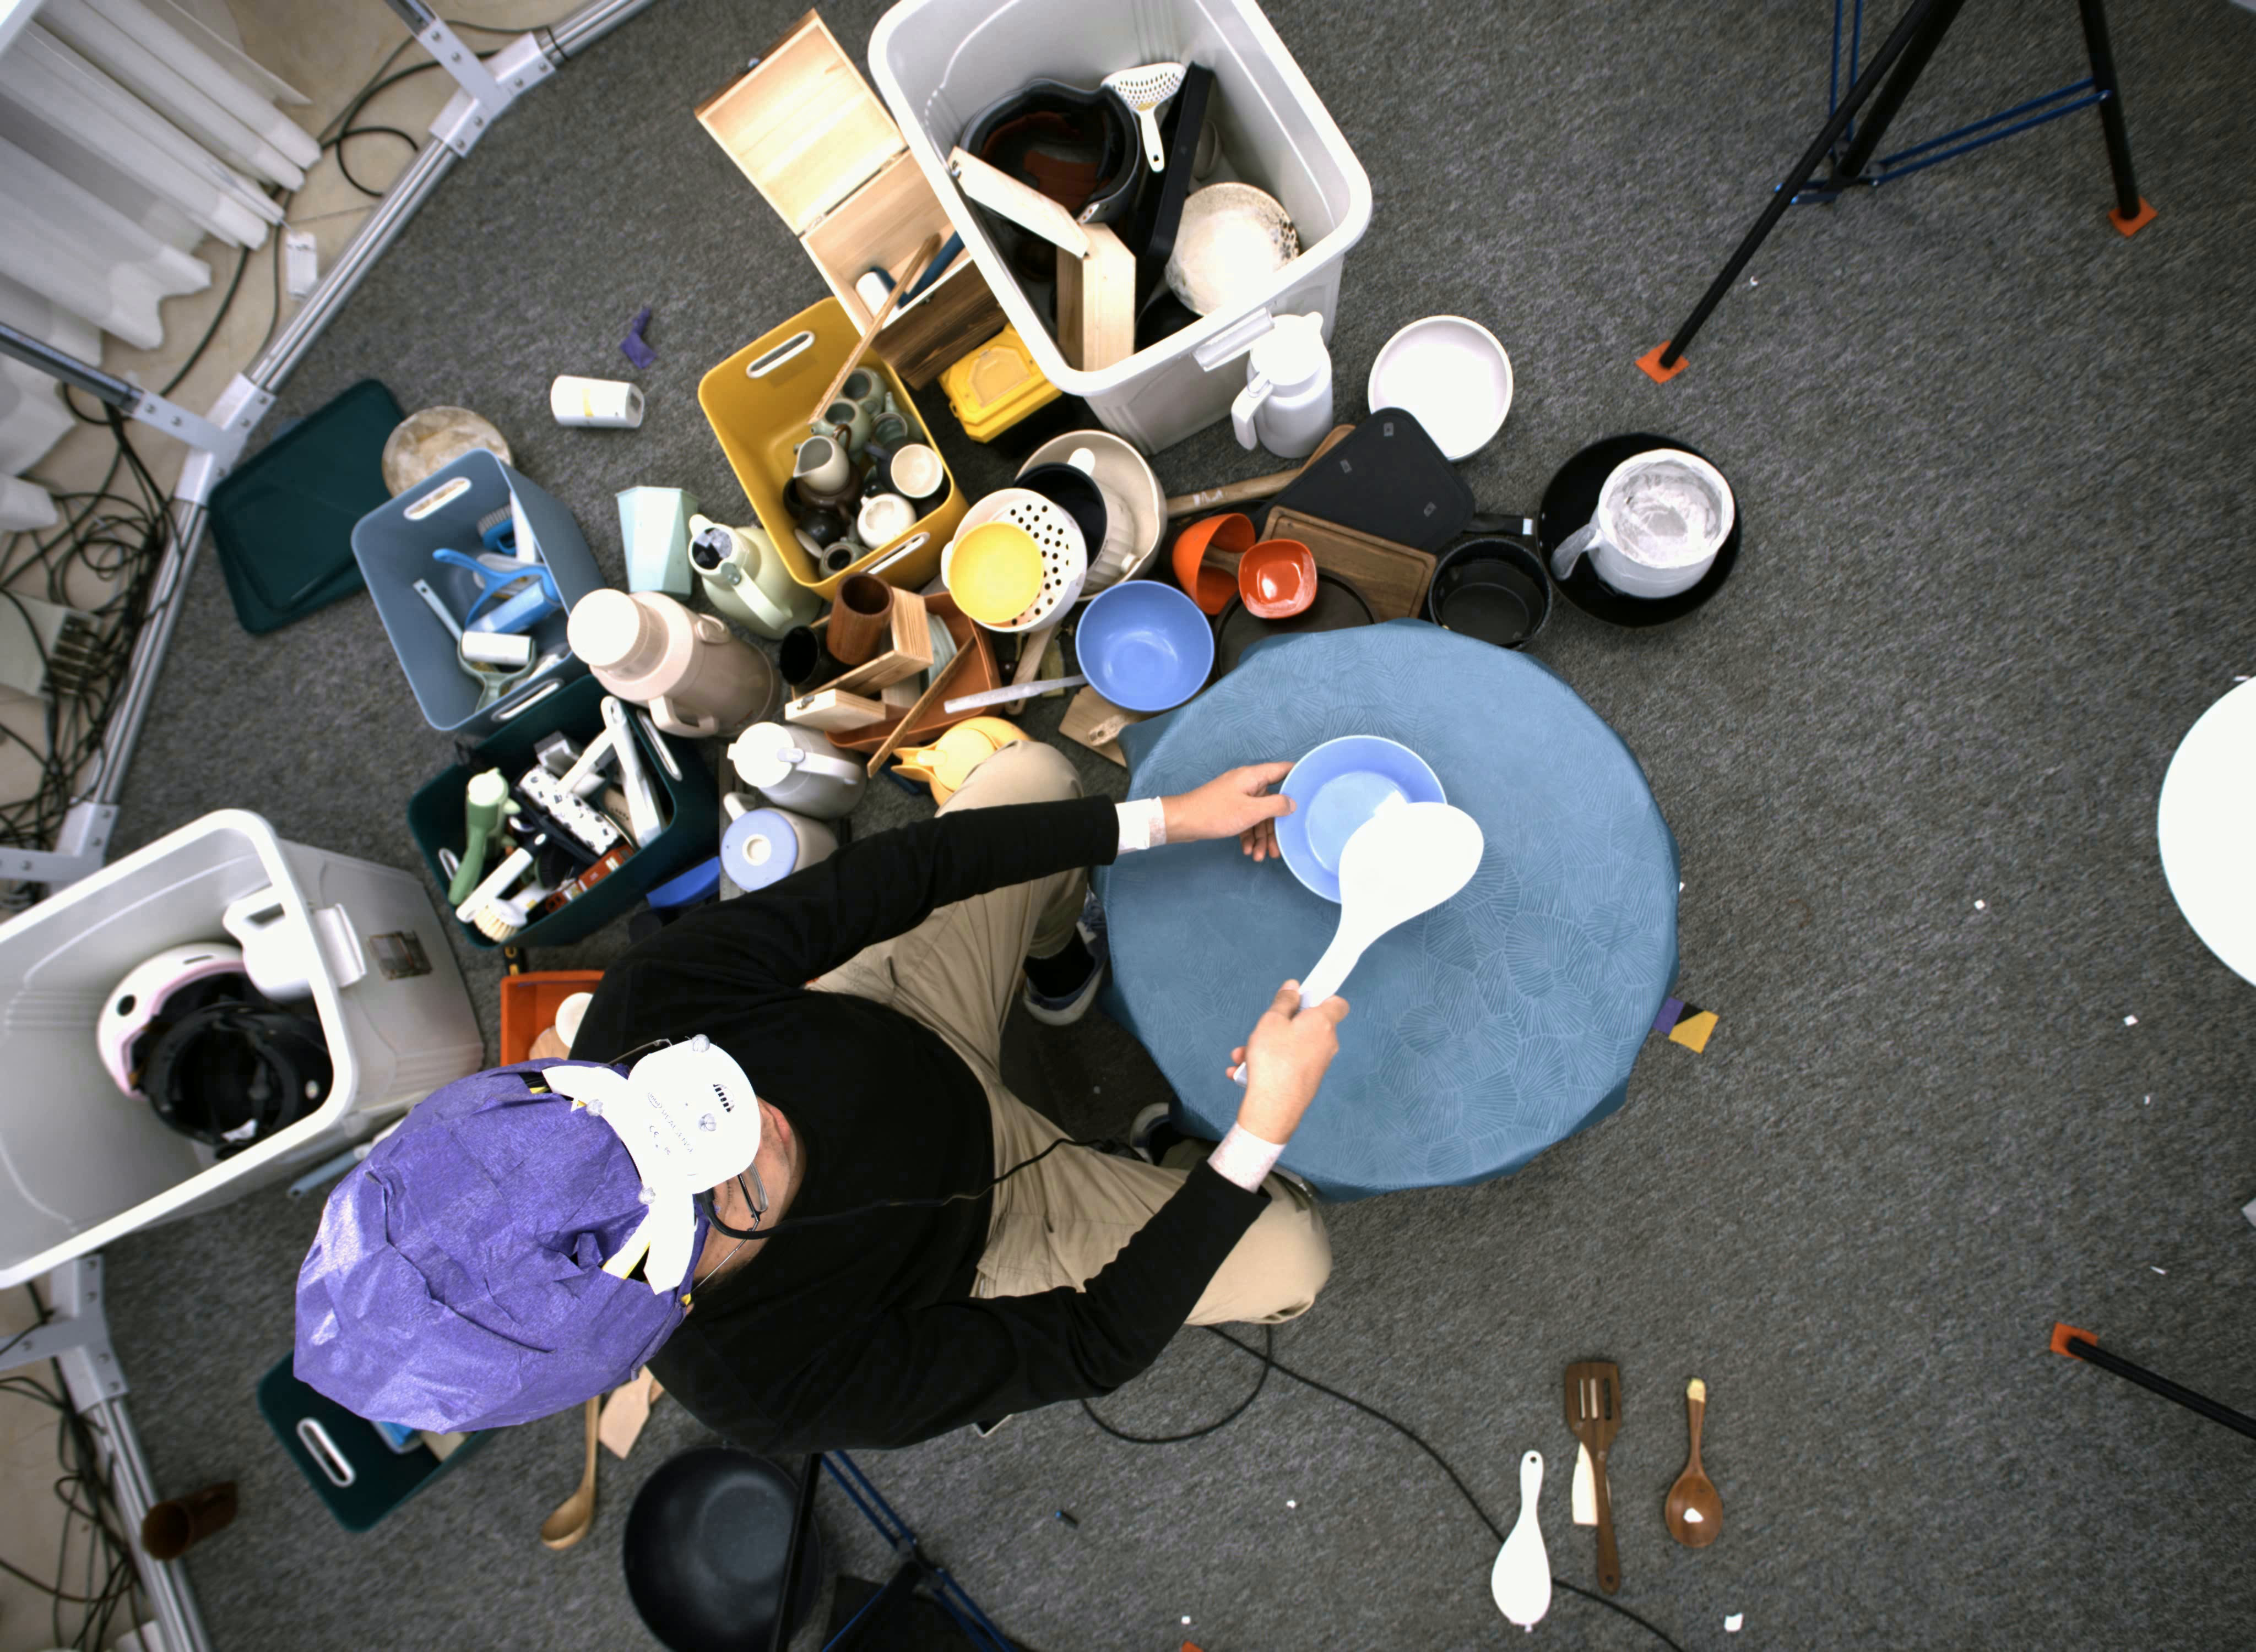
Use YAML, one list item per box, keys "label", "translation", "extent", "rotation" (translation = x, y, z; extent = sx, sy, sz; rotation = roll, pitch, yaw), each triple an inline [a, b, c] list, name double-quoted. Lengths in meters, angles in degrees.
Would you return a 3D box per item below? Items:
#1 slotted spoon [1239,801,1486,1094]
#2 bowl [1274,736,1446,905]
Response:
- label: "slotted spoon"
  translation: [0.211, 0.106, 1.278]
  extent: [0.136, 0.046, 0.343]
  rotation: [20, 57, 41]
- label: "bowl"
  translation: [0.241, -0.004, 1.434]
  extent: [0.177, 0.070, 0.175]
  rotation: [-1, 87, 11]
